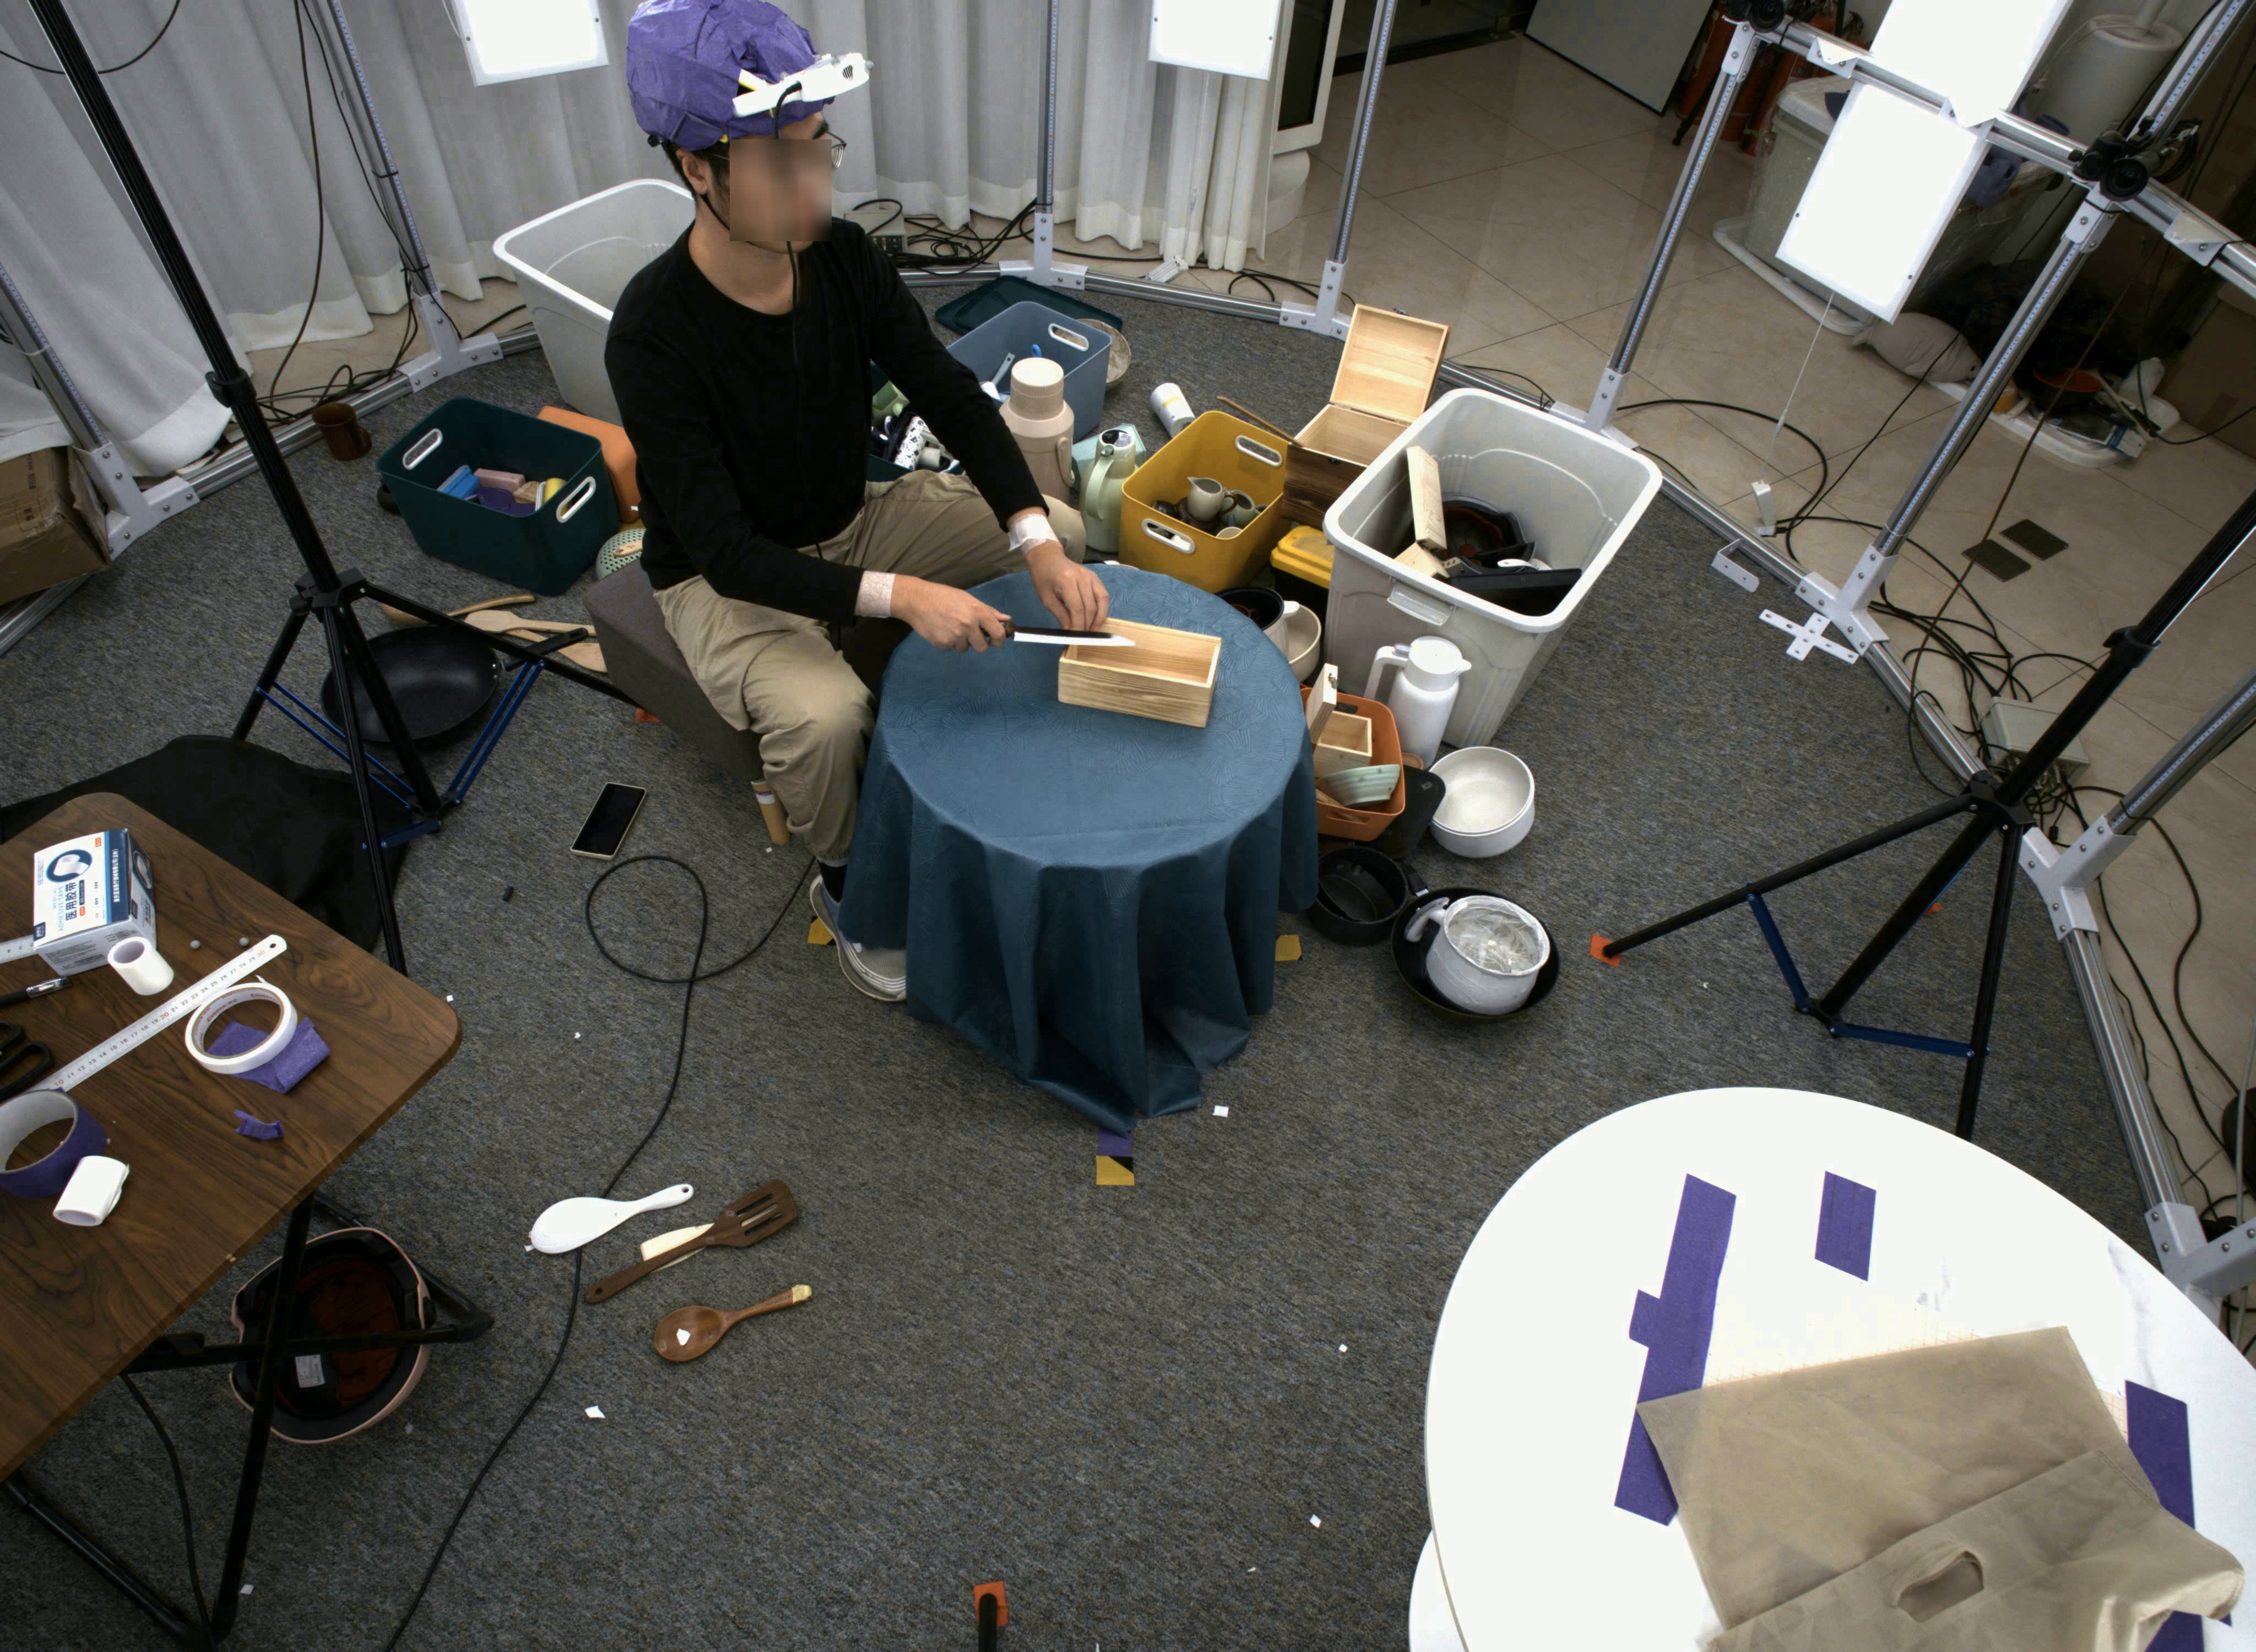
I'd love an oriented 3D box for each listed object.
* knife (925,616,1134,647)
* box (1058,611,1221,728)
[{"bbox_3d":[-0.135,-0.266,1.776,0.289,0.019,0.051,5,35,-2],"label":"knife"},{"bbox_3d":[0.016,-0.221,1.812,0.211,0.078,0.110,11,49,5],"label":"box"}]
